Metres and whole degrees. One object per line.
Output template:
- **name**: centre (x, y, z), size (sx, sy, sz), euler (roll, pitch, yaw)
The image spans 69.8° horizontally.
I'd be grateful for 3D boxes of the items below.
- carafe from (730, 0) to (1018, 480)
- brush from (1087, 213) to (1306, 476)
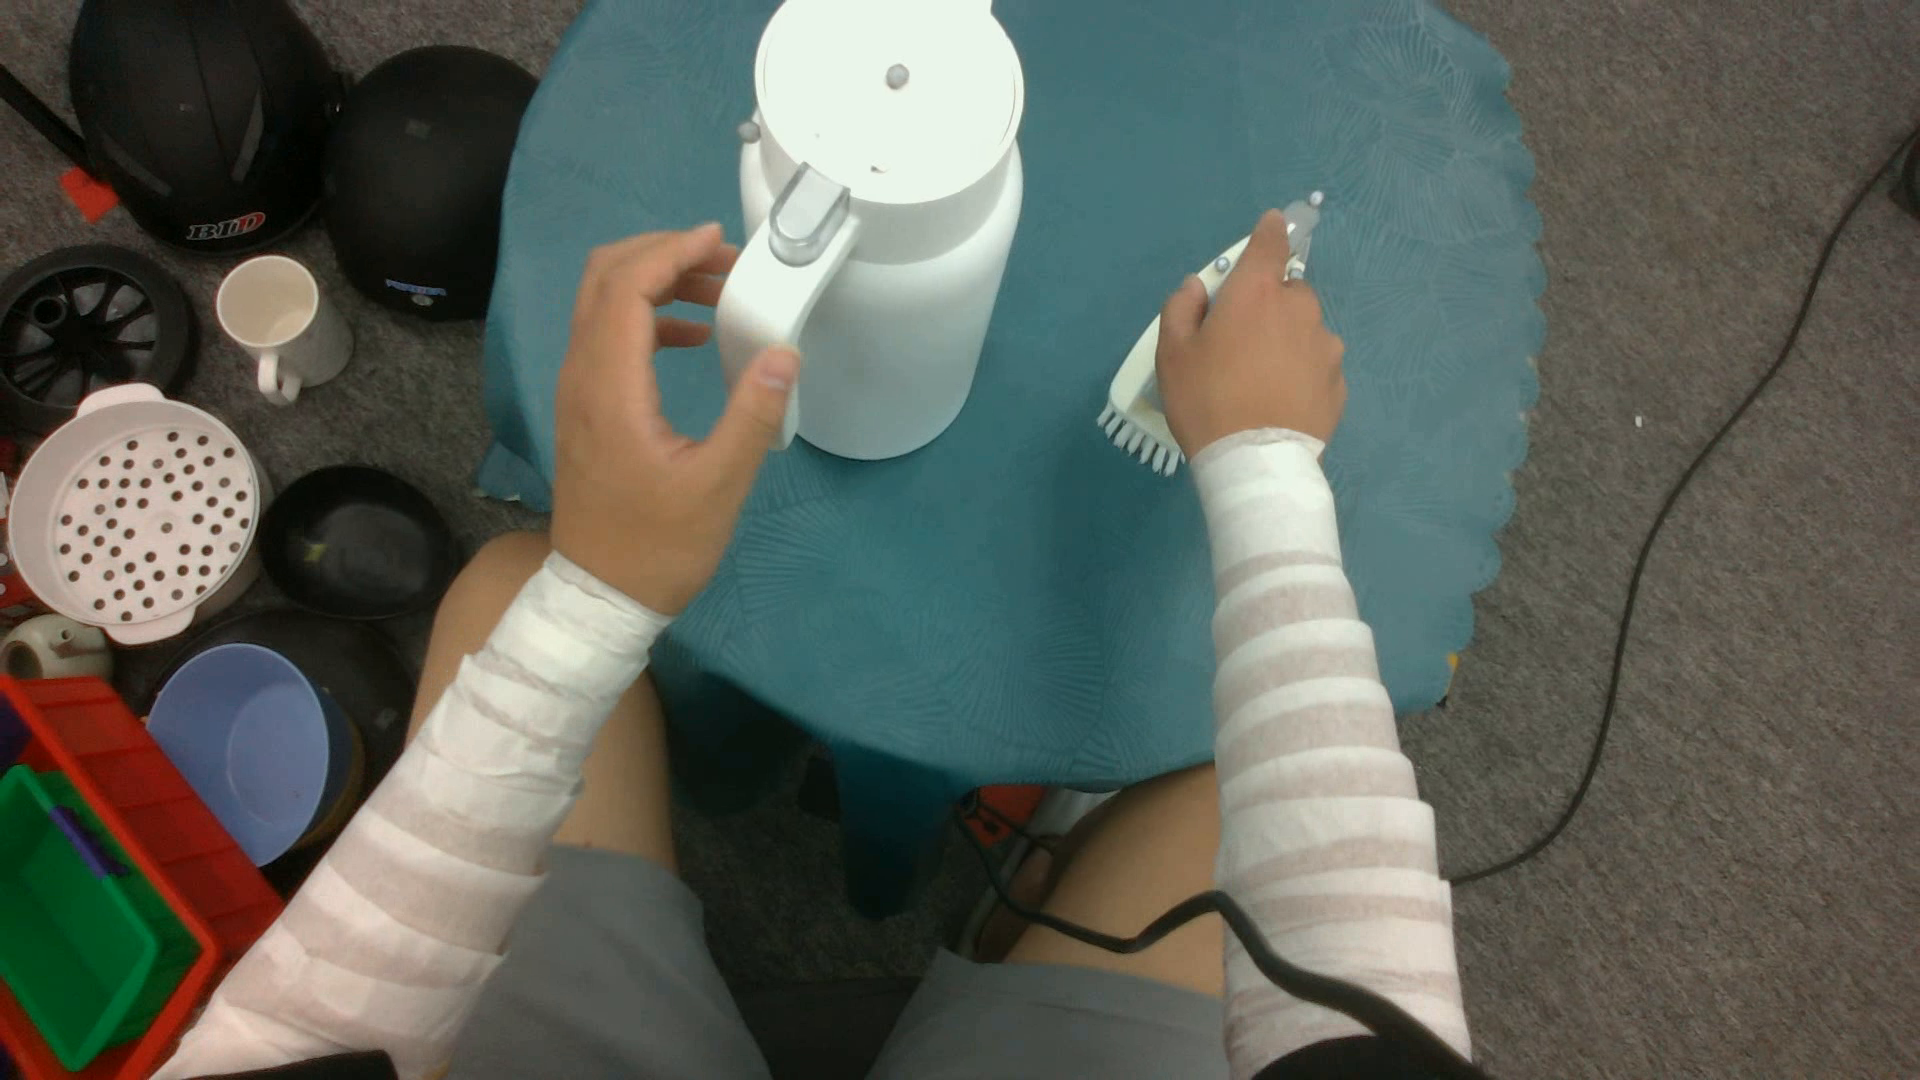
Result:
- **carafe**: centre (-0.045, -0.108, 0.643), size (0.124, 0.268, 0.173), euler (27, 73, 1)
- **brush**: centre (0.144, -0.124, 0.759), size (0.061, 0.094, 0.176), euler (37, 72, 3)
